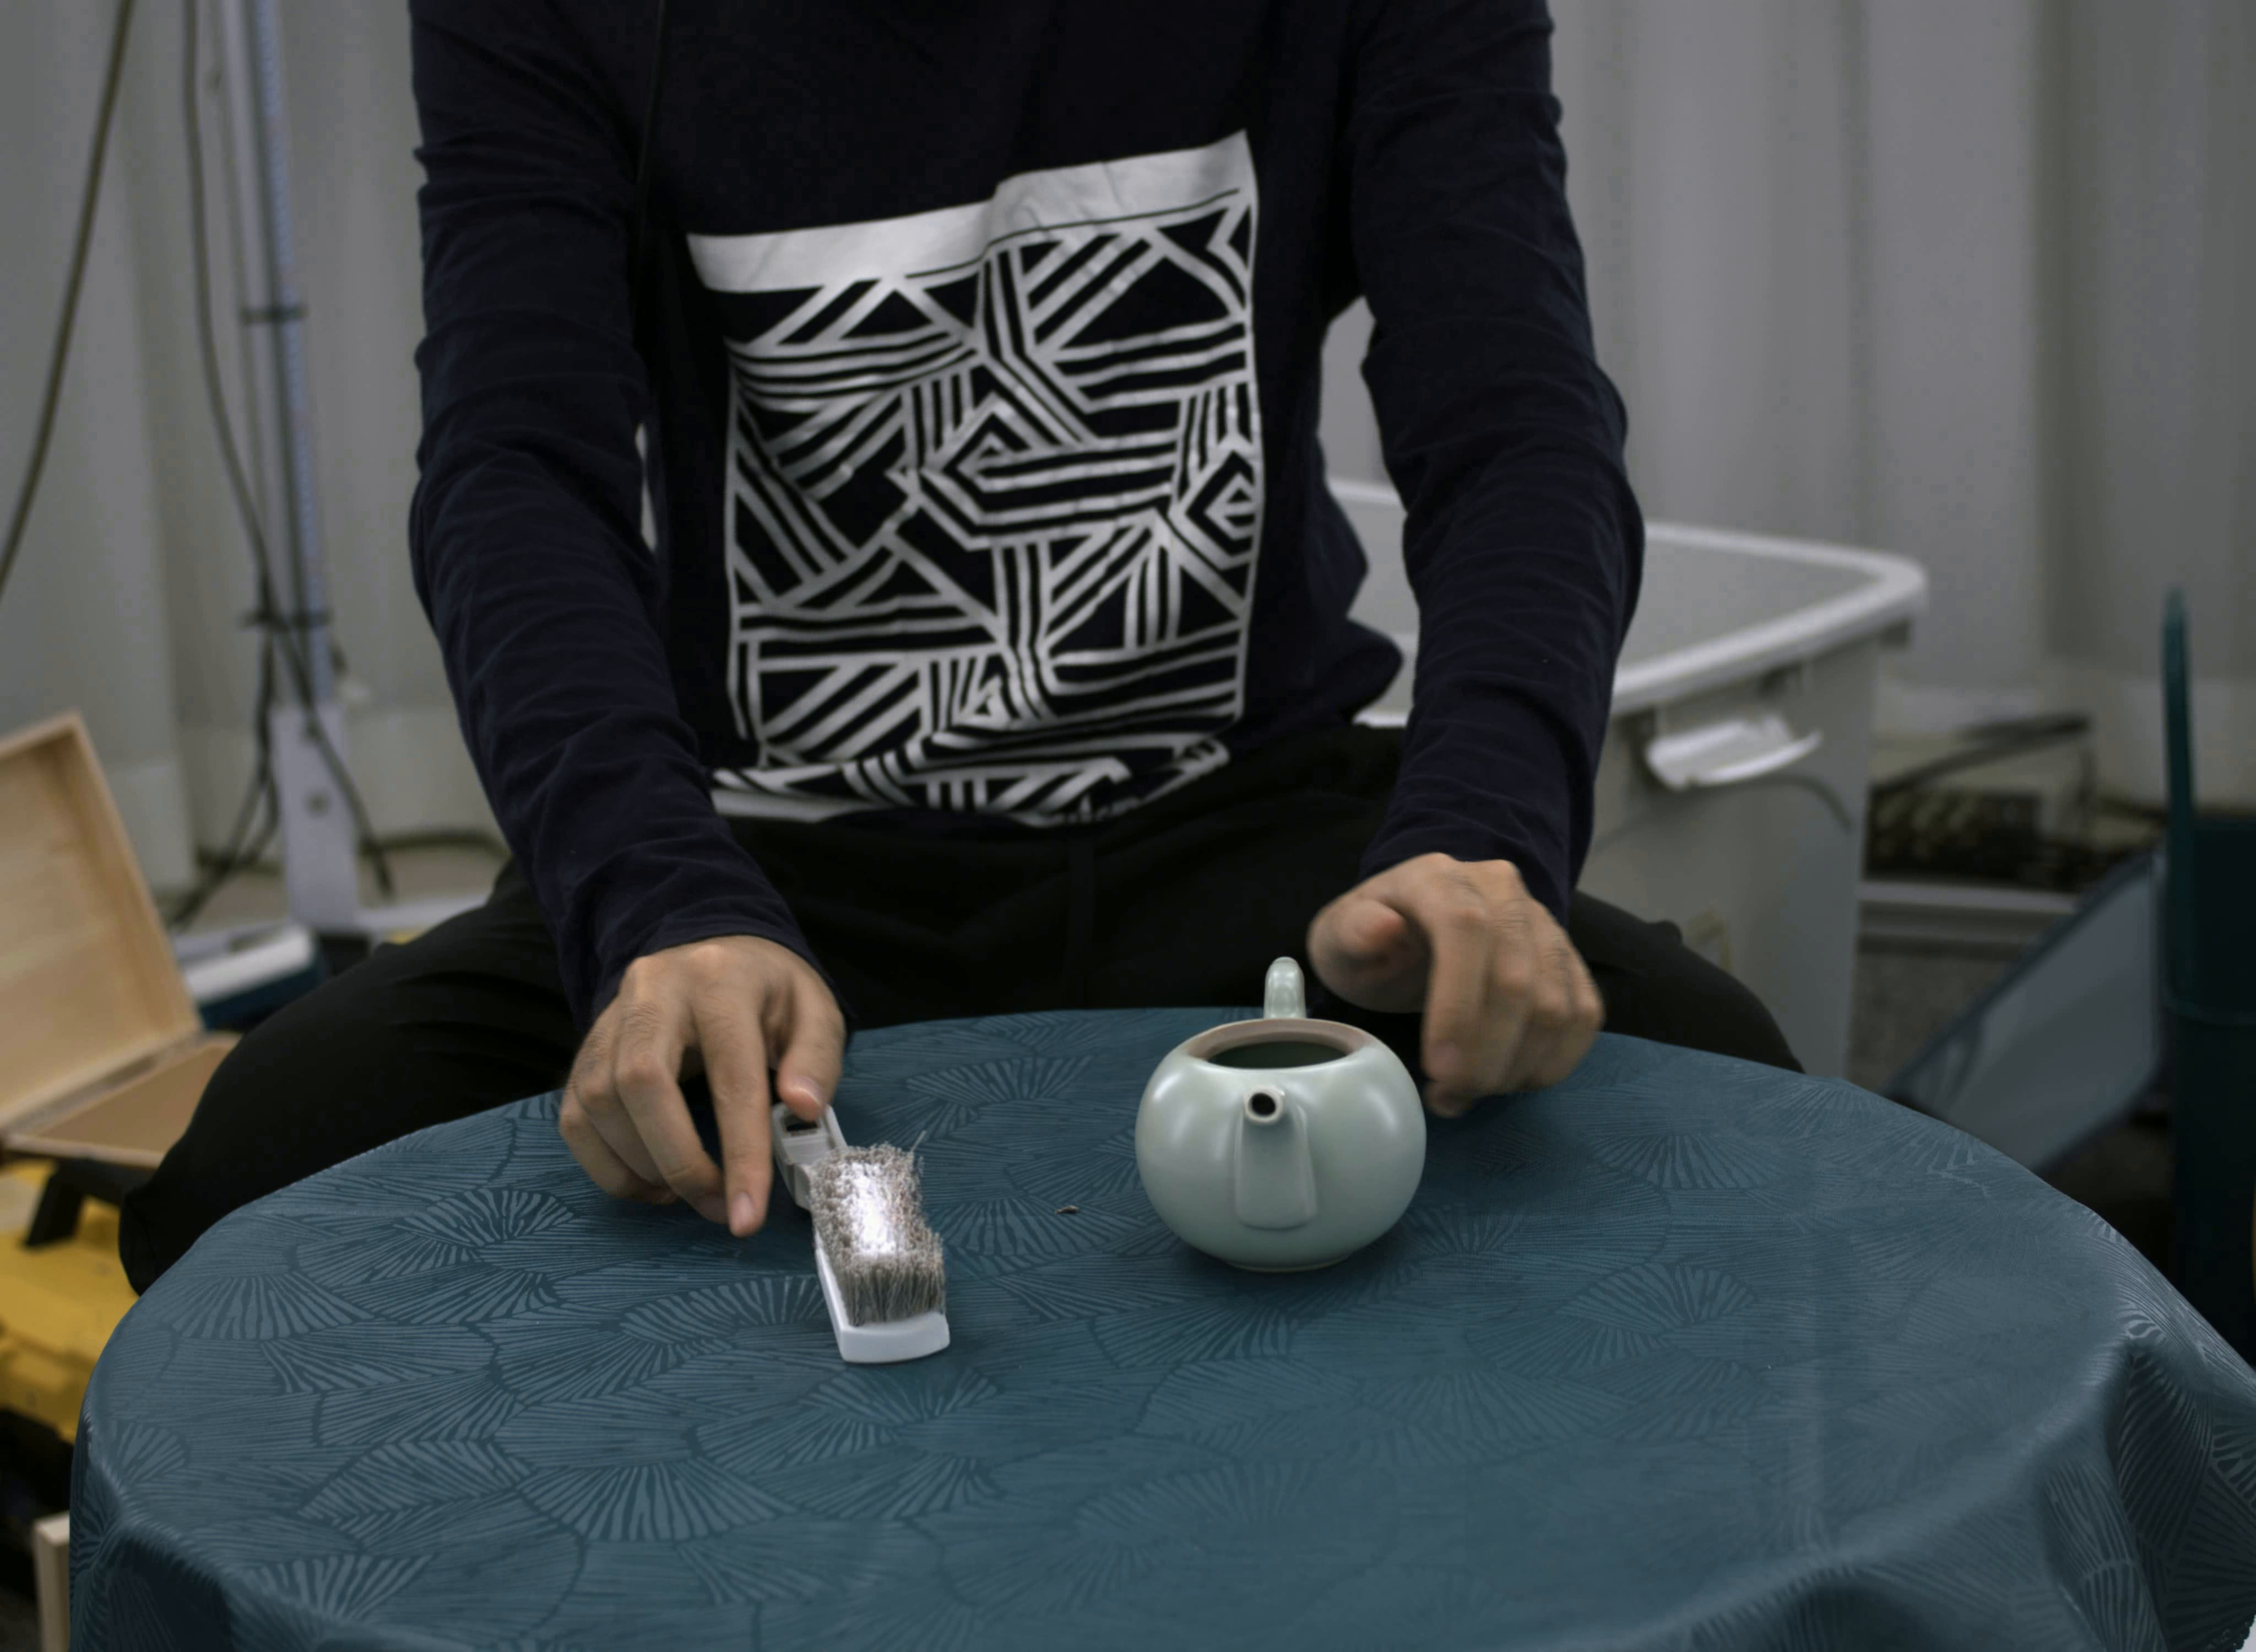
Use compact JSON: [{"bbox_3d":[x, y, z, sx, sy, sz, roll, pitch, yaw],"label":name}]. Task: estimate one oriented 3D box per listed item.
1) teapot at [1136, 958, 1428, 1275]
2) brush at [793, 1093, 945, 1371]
[{"bbox_3d":[0.046,0.094,1.646,0.088,0.074,0.145,-2,16,8],"label":"teapot"},{"bbox_3d":[-0.086,0.105,1.676,0.034,0.050,0.245,-11,16,-5],"label":"brush"}]
